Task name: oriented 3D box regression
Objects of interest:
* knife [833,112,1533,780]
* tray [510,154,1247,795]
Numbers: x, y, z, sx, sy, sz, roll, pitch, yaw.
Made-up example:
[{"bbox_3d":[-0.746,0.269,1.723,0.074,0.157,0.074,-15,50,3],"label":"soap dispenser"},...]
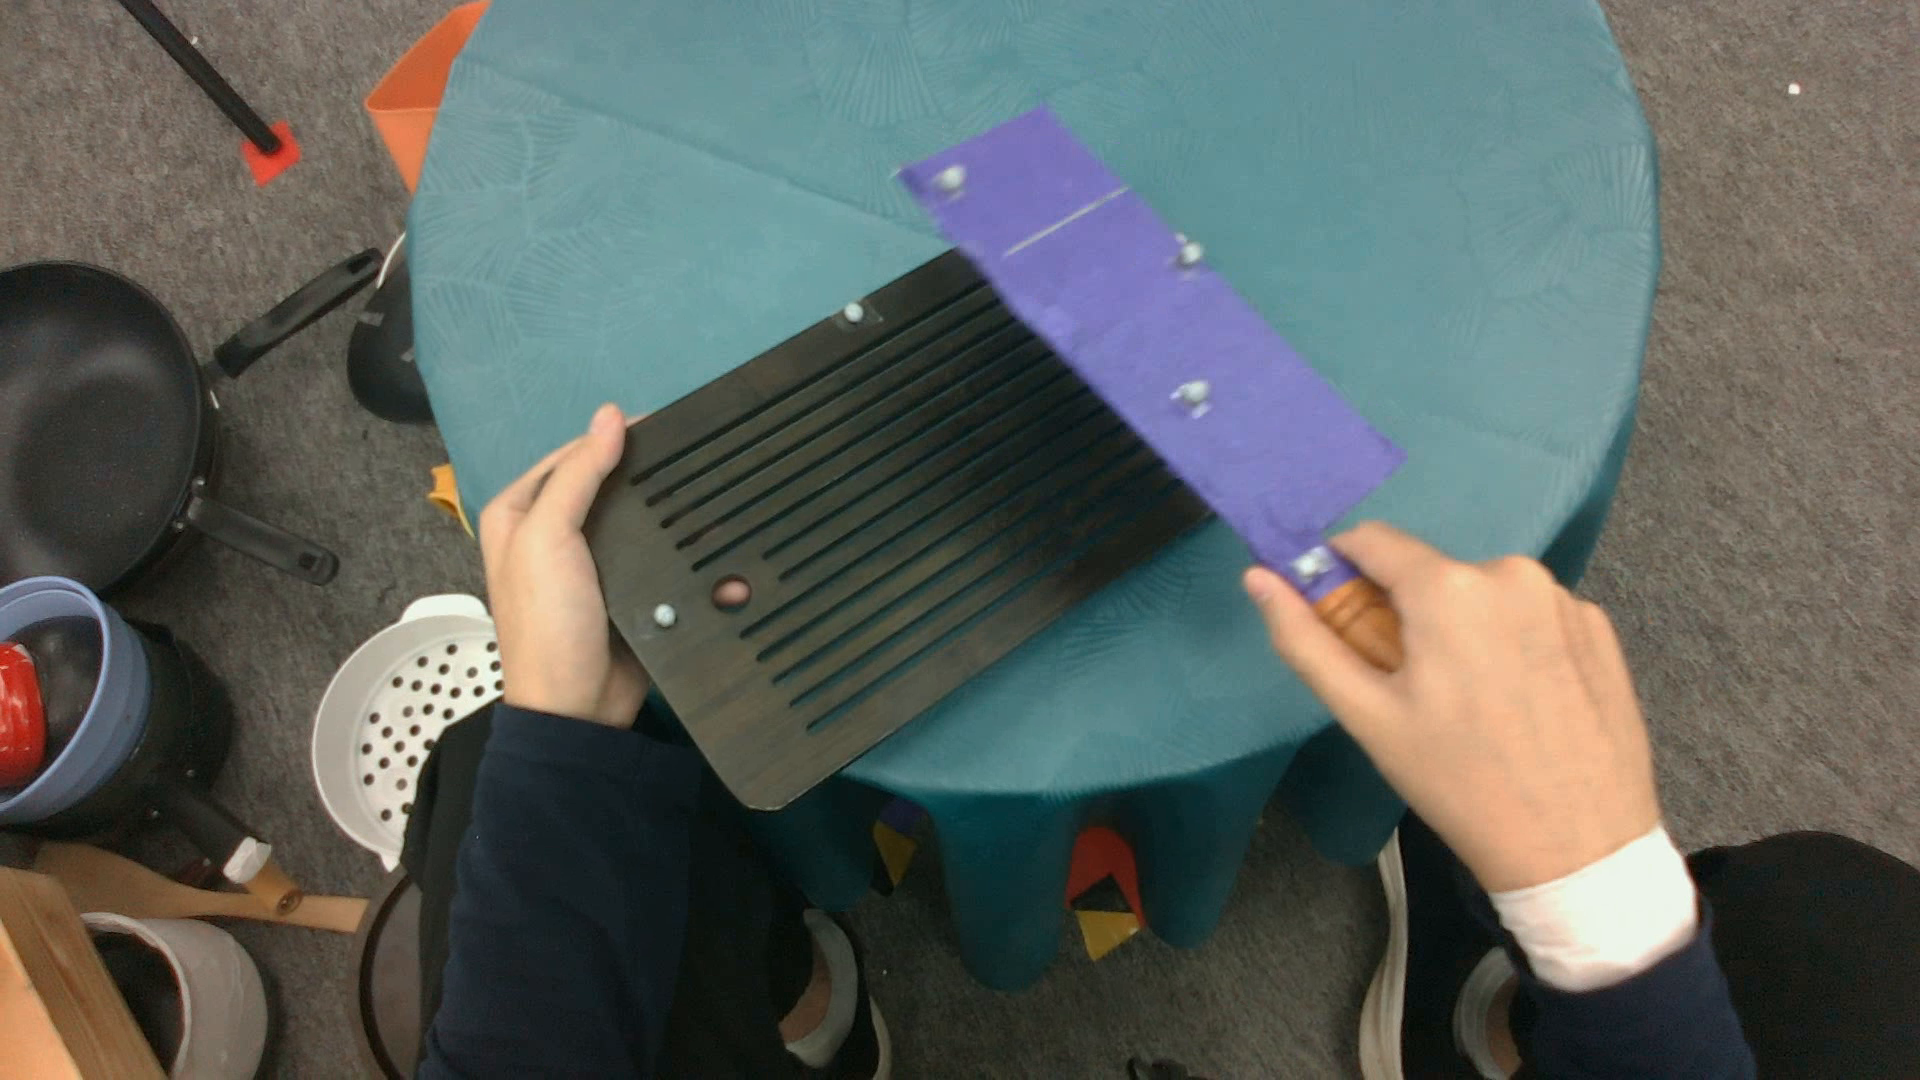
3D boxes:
[{"bbox_3d":[0.093,-0.052,0.506,0.315,0.032,0.104,45,54,11],"label":"knife"},{"bbox_3d":[-0.017,-0.042,0.587,0.307,0.018,0.170,-34,74,-20],"label":"tray"}]
